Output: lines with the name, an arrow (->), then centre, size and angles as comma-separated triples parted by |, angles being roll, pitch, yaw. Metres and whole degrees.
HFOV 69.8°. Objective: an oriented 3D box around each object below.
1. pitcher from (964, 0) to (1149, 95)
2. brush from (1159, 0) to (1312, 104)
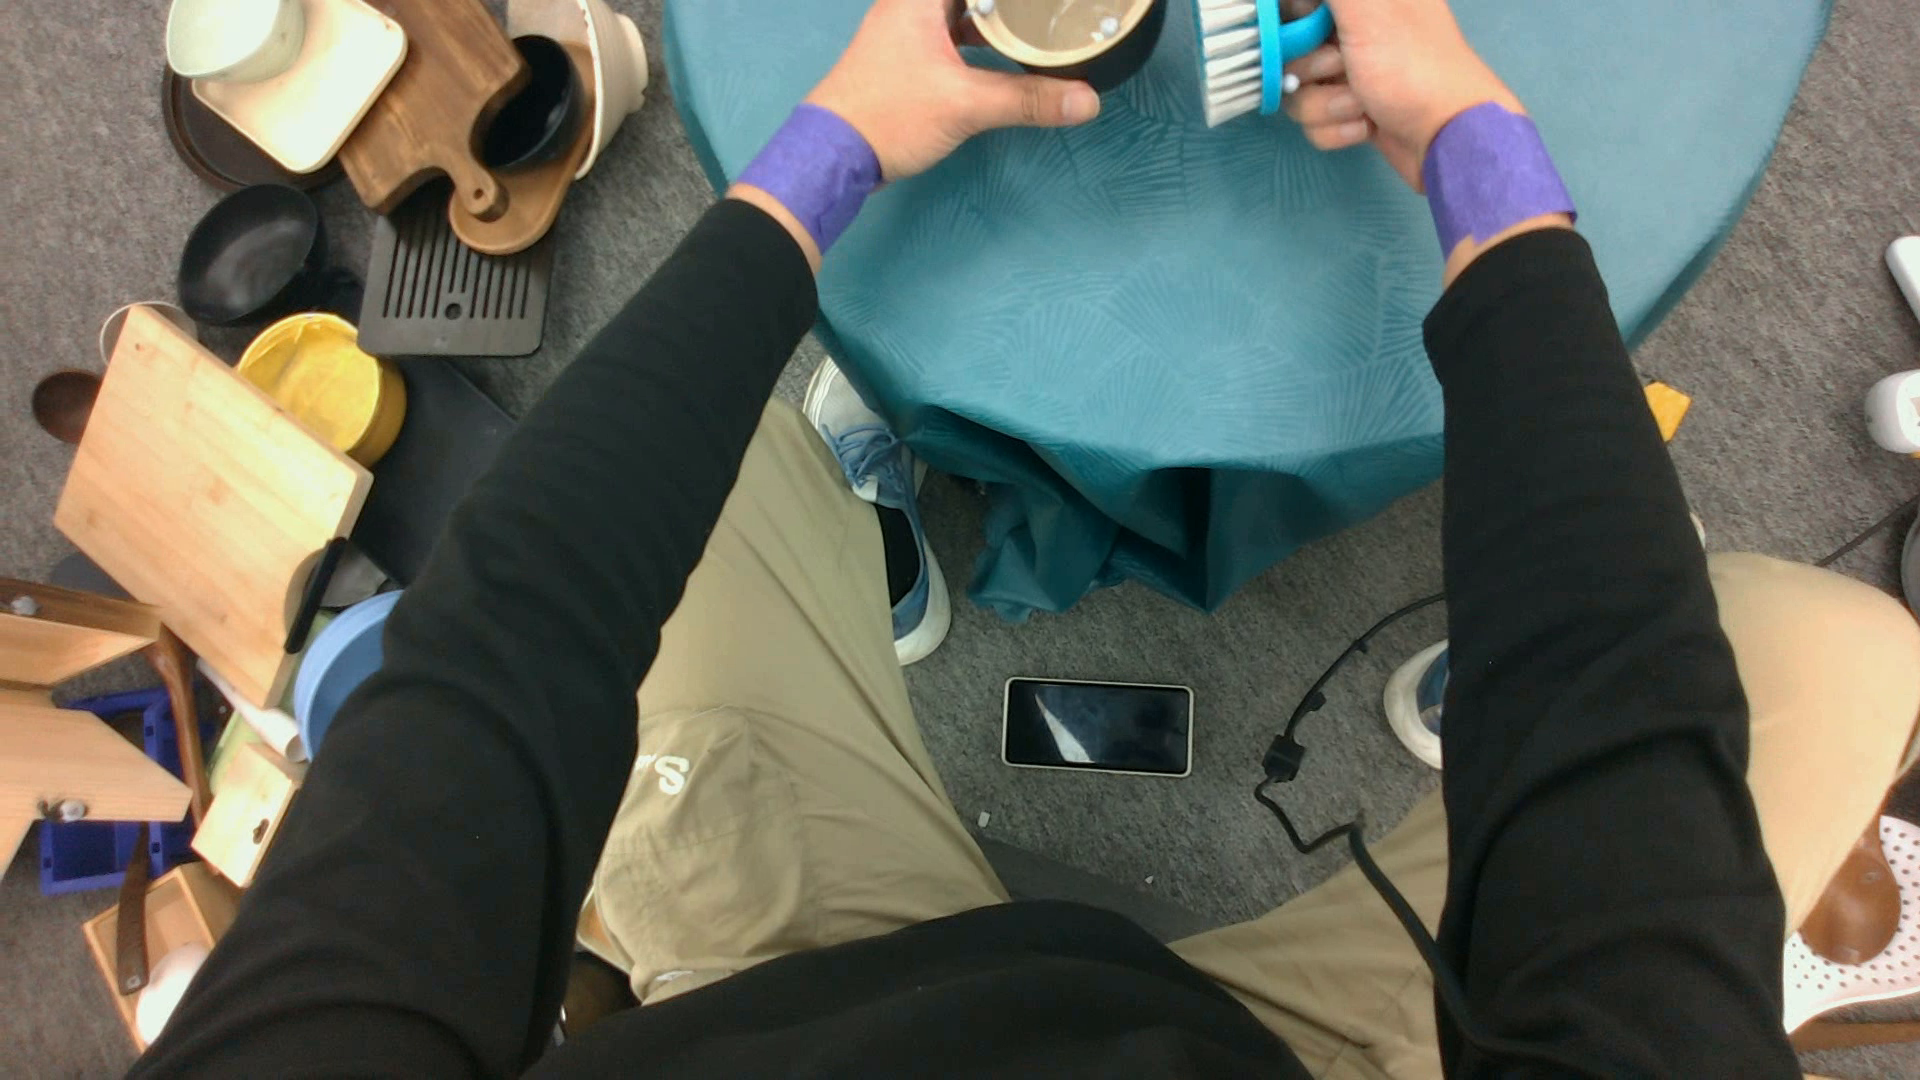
pitcher -> 0.051, -0.251, 0.636 | 0.084, 0.071, 0.096 | 36, 91, 21
brush -> 0.125, -0.268, 0.634 | 0.064, 0.084, 0.142 | -6, 66, 4
